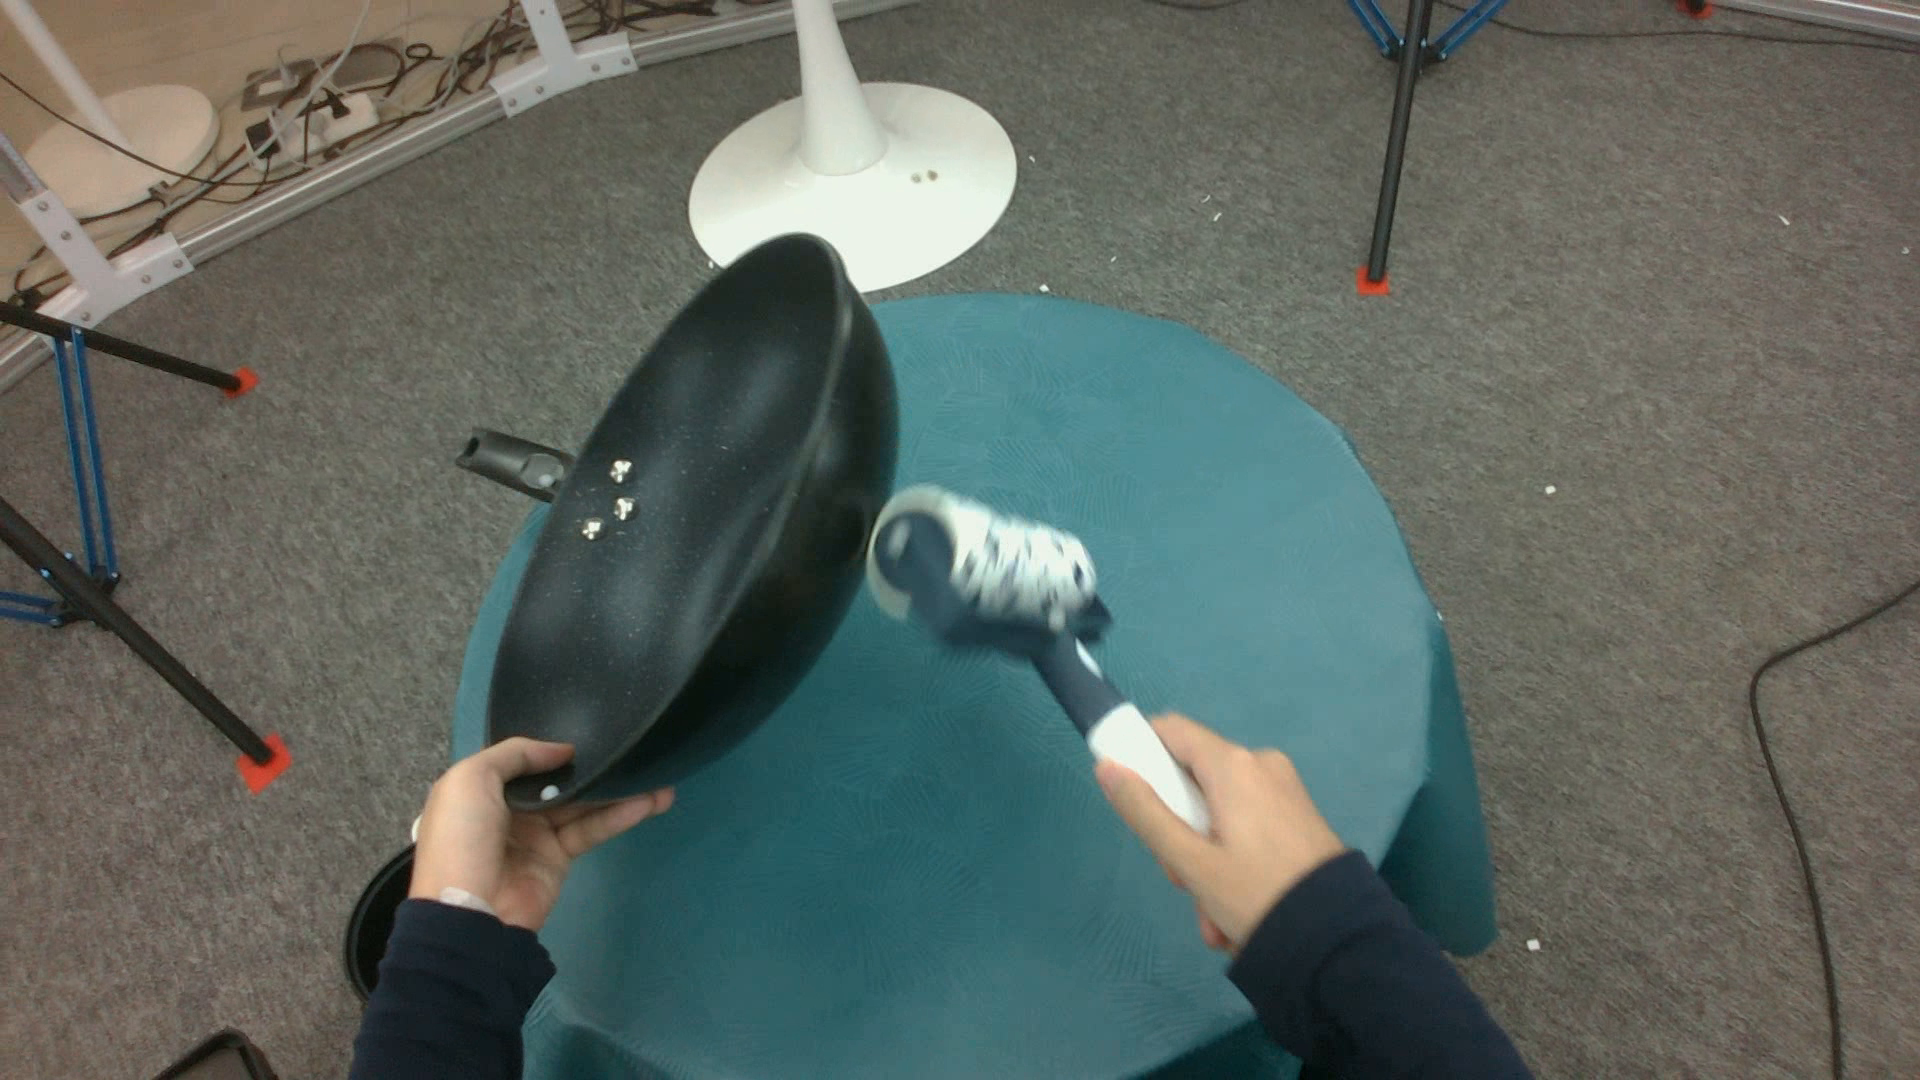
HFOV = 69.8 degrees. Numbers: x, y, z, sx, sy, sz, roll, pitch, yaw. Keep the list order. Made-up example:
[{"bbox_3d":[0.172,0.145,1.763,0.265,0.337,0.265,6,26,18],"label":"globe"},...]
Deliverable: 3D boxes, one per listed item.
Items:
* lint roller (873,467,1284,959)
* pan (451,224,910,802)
[{"bbox_3d":[0.069,0.076,0.628,0.050,0.176,0.247,-42,72,12],"label":"lint roller"},{"bbox_3d":[-0.174,-0.019,0.754,0.476,0.111,0.311,12,73,57],"label":"pan"}]
